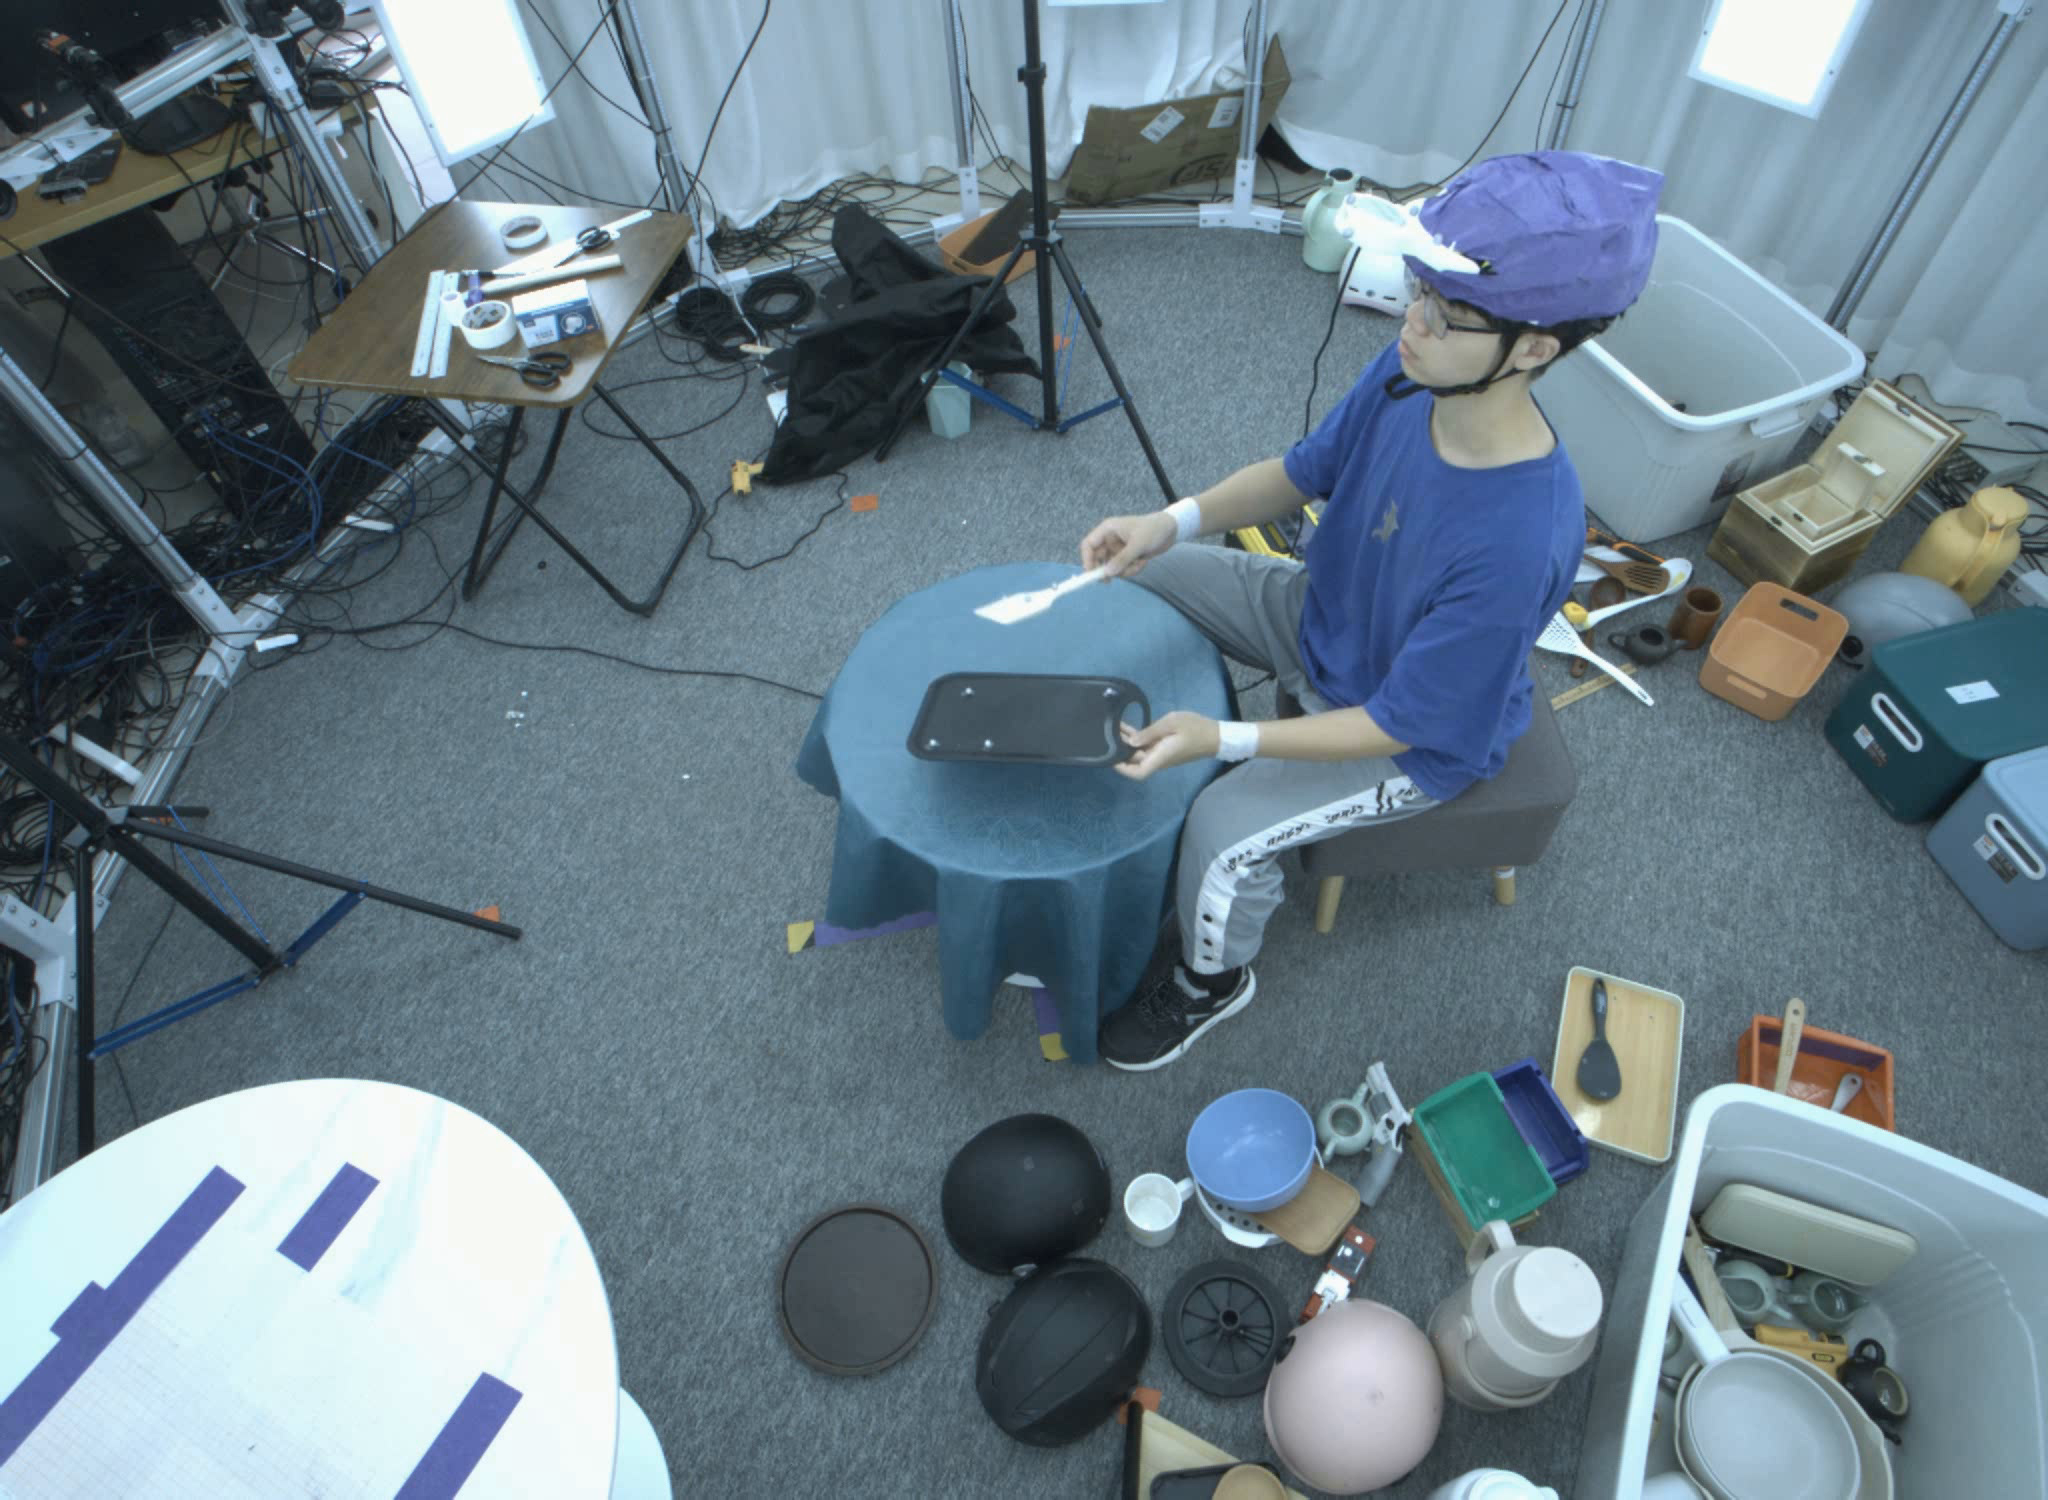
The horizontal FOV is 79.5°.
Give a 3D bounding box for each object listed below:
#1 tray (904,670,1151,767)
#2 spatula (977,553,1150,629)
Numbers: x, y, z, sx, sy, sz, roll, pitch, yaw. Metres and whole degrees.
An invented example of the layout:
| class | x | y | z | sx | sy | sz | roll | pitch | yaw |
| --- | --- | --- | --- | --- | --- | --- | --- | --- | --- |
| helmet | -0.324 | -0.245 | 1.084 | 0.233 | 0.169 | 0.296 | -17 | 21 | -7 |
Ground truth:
| class | x | y | z | sx | sy | sz | roll | pitch | yaw |
| --- | --- | --- | --- | --- | --- | --- | --- | --- | --- |
| tray | 0.010 | -0.048 | 1.676 | 0.323 | 0.010 | 0.210 | 3 | 38 | 9 |
| spatula | 0.065 | -0.224 | 1.700 | 0.297 | 0.011 | 0.070 | -28 | 35 | -33 |
